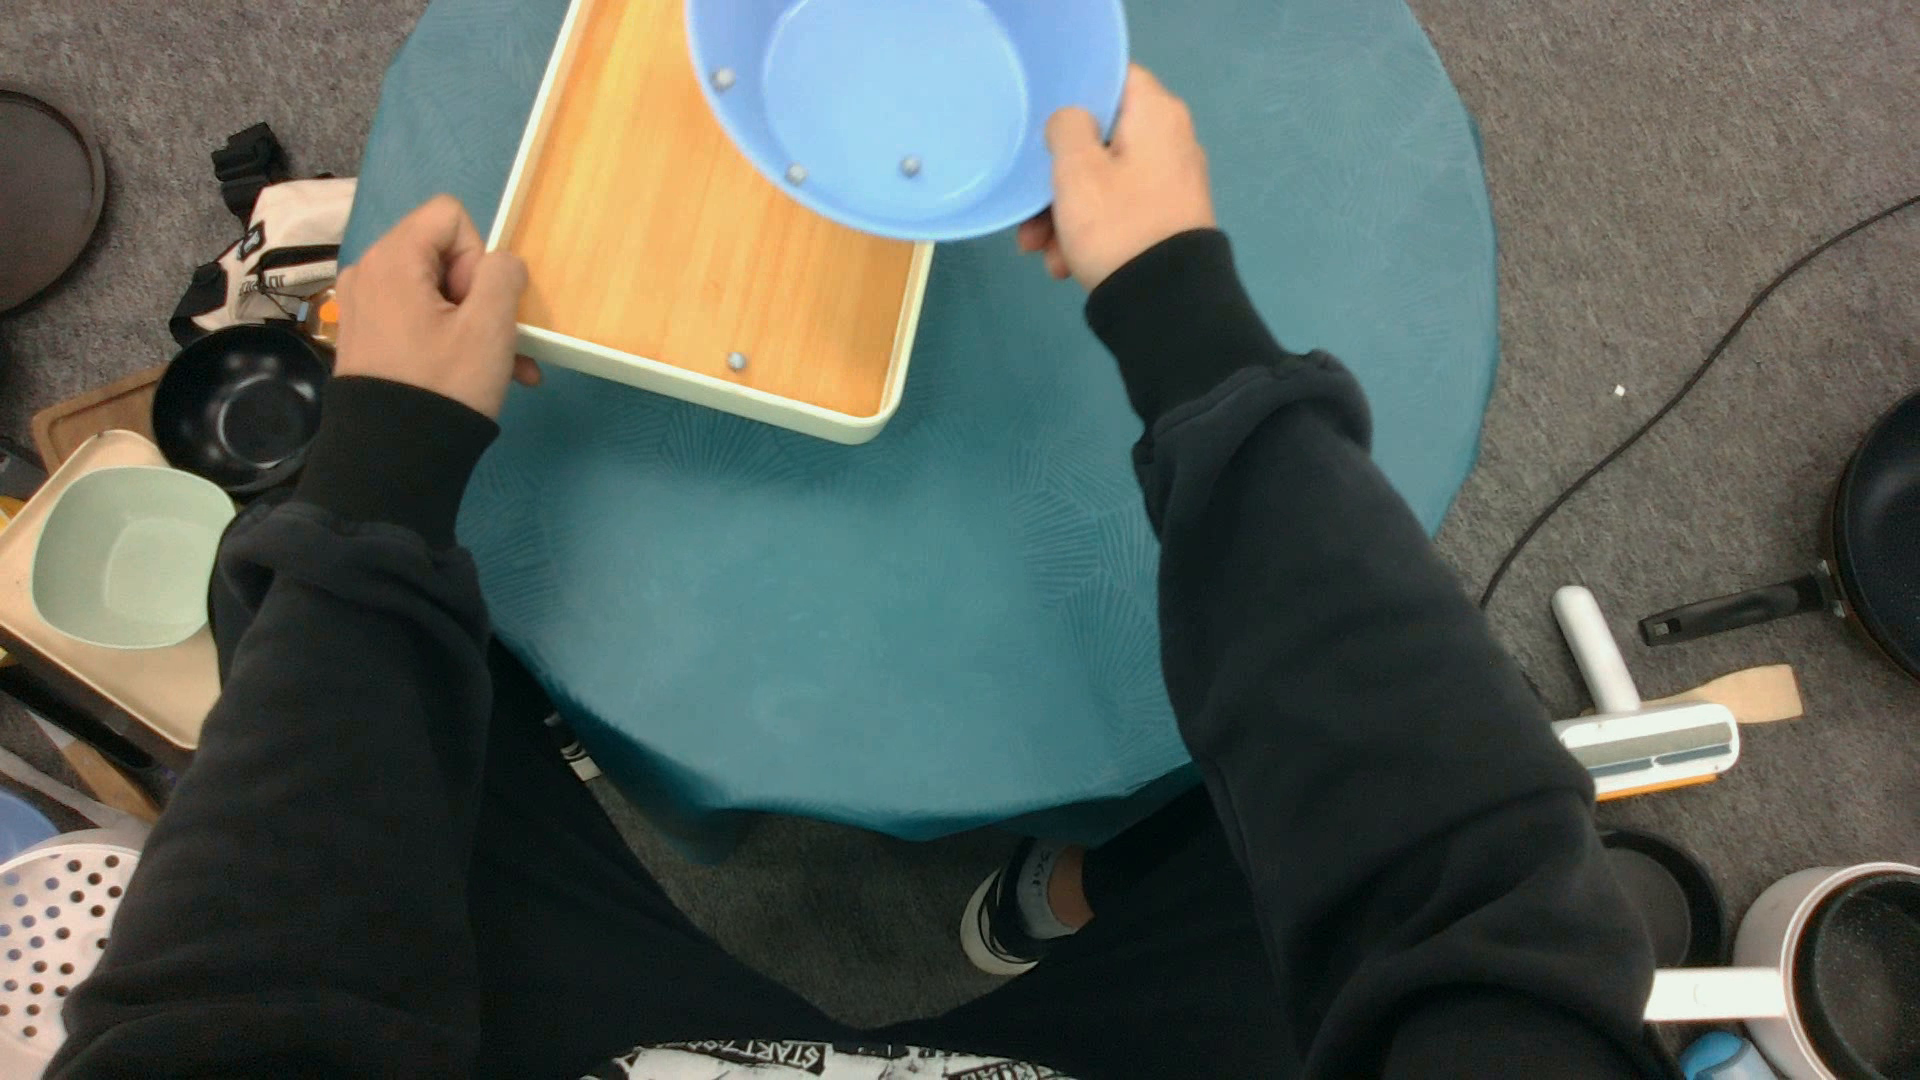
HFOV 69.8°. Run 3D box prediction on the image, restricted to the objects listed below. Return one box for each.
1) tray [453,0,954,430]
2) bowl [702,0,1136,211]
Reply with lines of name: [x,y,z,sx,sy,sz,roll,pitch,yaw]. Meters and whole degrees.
tray: [-0.111,-0.210,0.671,0.192,0.027,0.301,15,67,-13]
bowl: [-0.019,-0.214,0.580,0.176,0.070,0.176,1,84,-10]
